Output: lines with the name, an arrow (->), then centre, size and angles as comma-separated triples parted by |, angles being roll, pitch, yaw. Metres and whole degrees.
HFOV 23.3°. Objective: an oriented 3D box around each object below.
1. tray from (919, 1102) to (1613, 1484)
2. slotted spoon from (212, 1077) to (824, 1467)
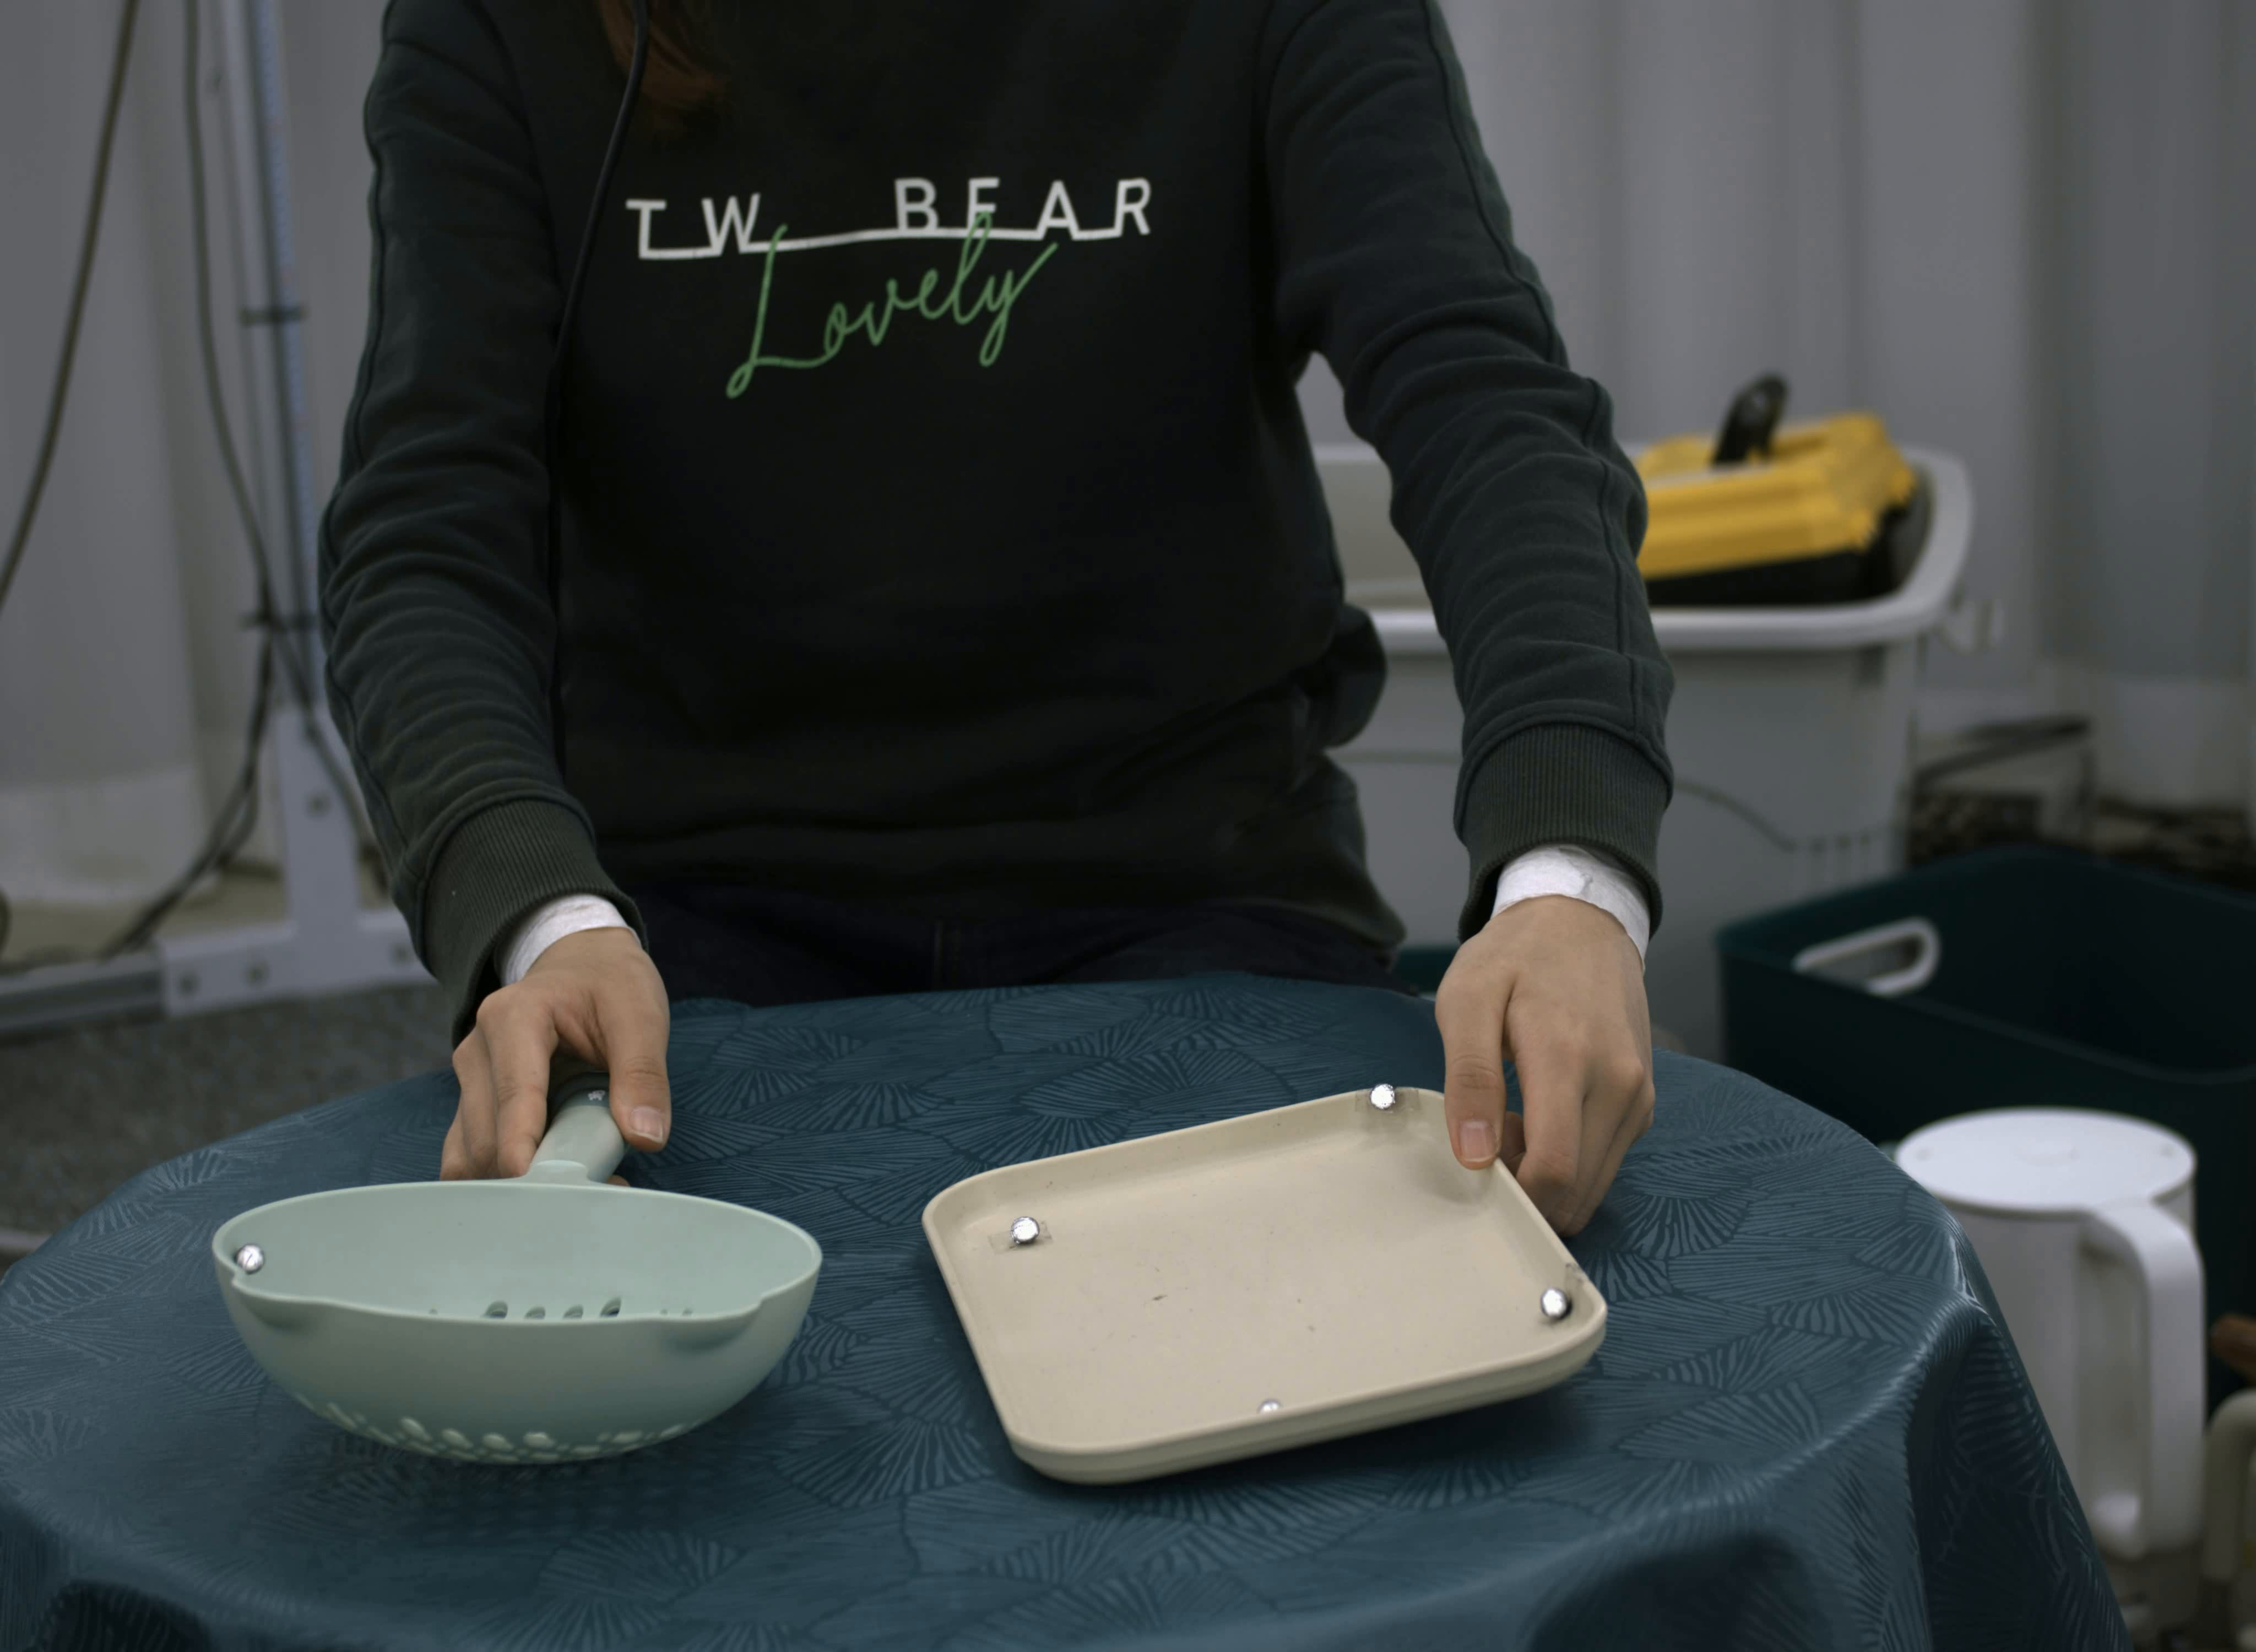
tray -> 0.036, 0.133, 1.577 | 0.170, 0.017, 0.241 | -12, 15, -7
slotted spoon -> -0.168, 0.115, 1.613 | 0.169, 0.075, 0.361 | 4, 16, 0
